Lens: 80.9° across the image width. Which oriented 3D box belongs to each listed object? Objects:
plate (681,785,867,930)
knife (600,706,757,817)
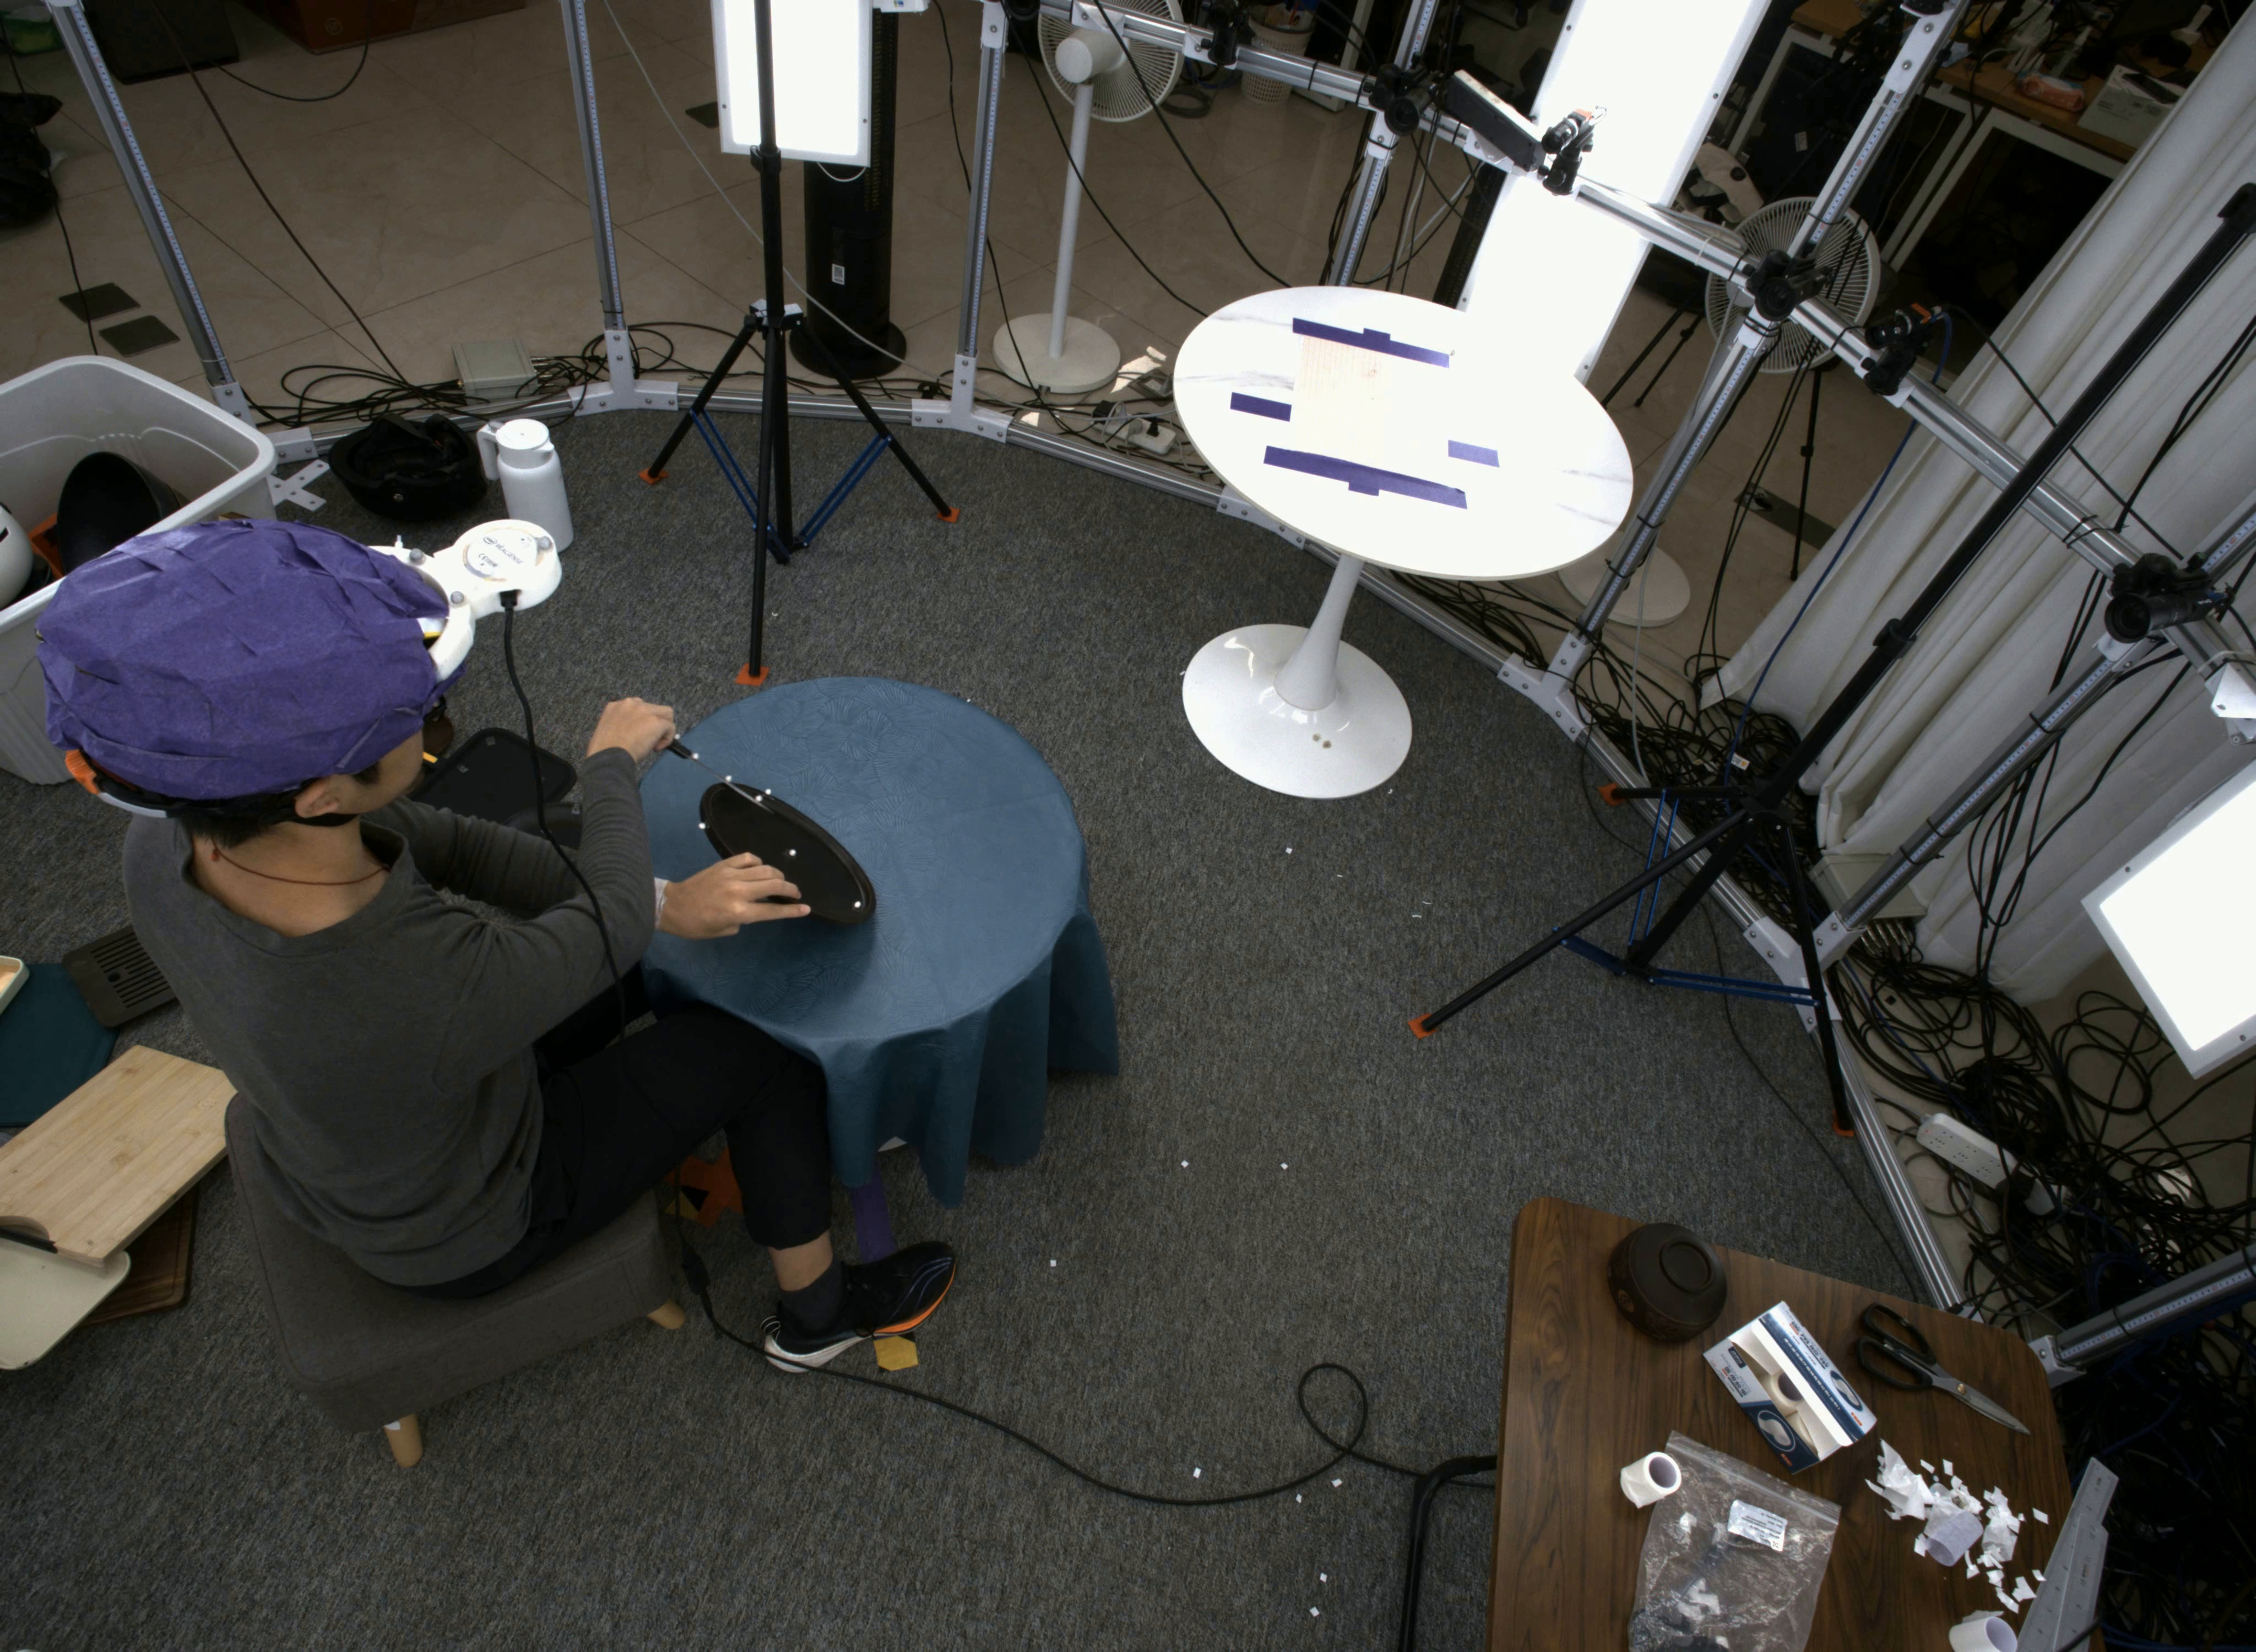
[{"bbox_3d":[-0.436,0.038,1.592,0.257,0.029,0.252,38,12,-7],"label":"plate"},{"bbox_3d":[-0.560,-0.079,1.589,0.240,0.024,0.016,35,87,-11],"label":"knife"}]
